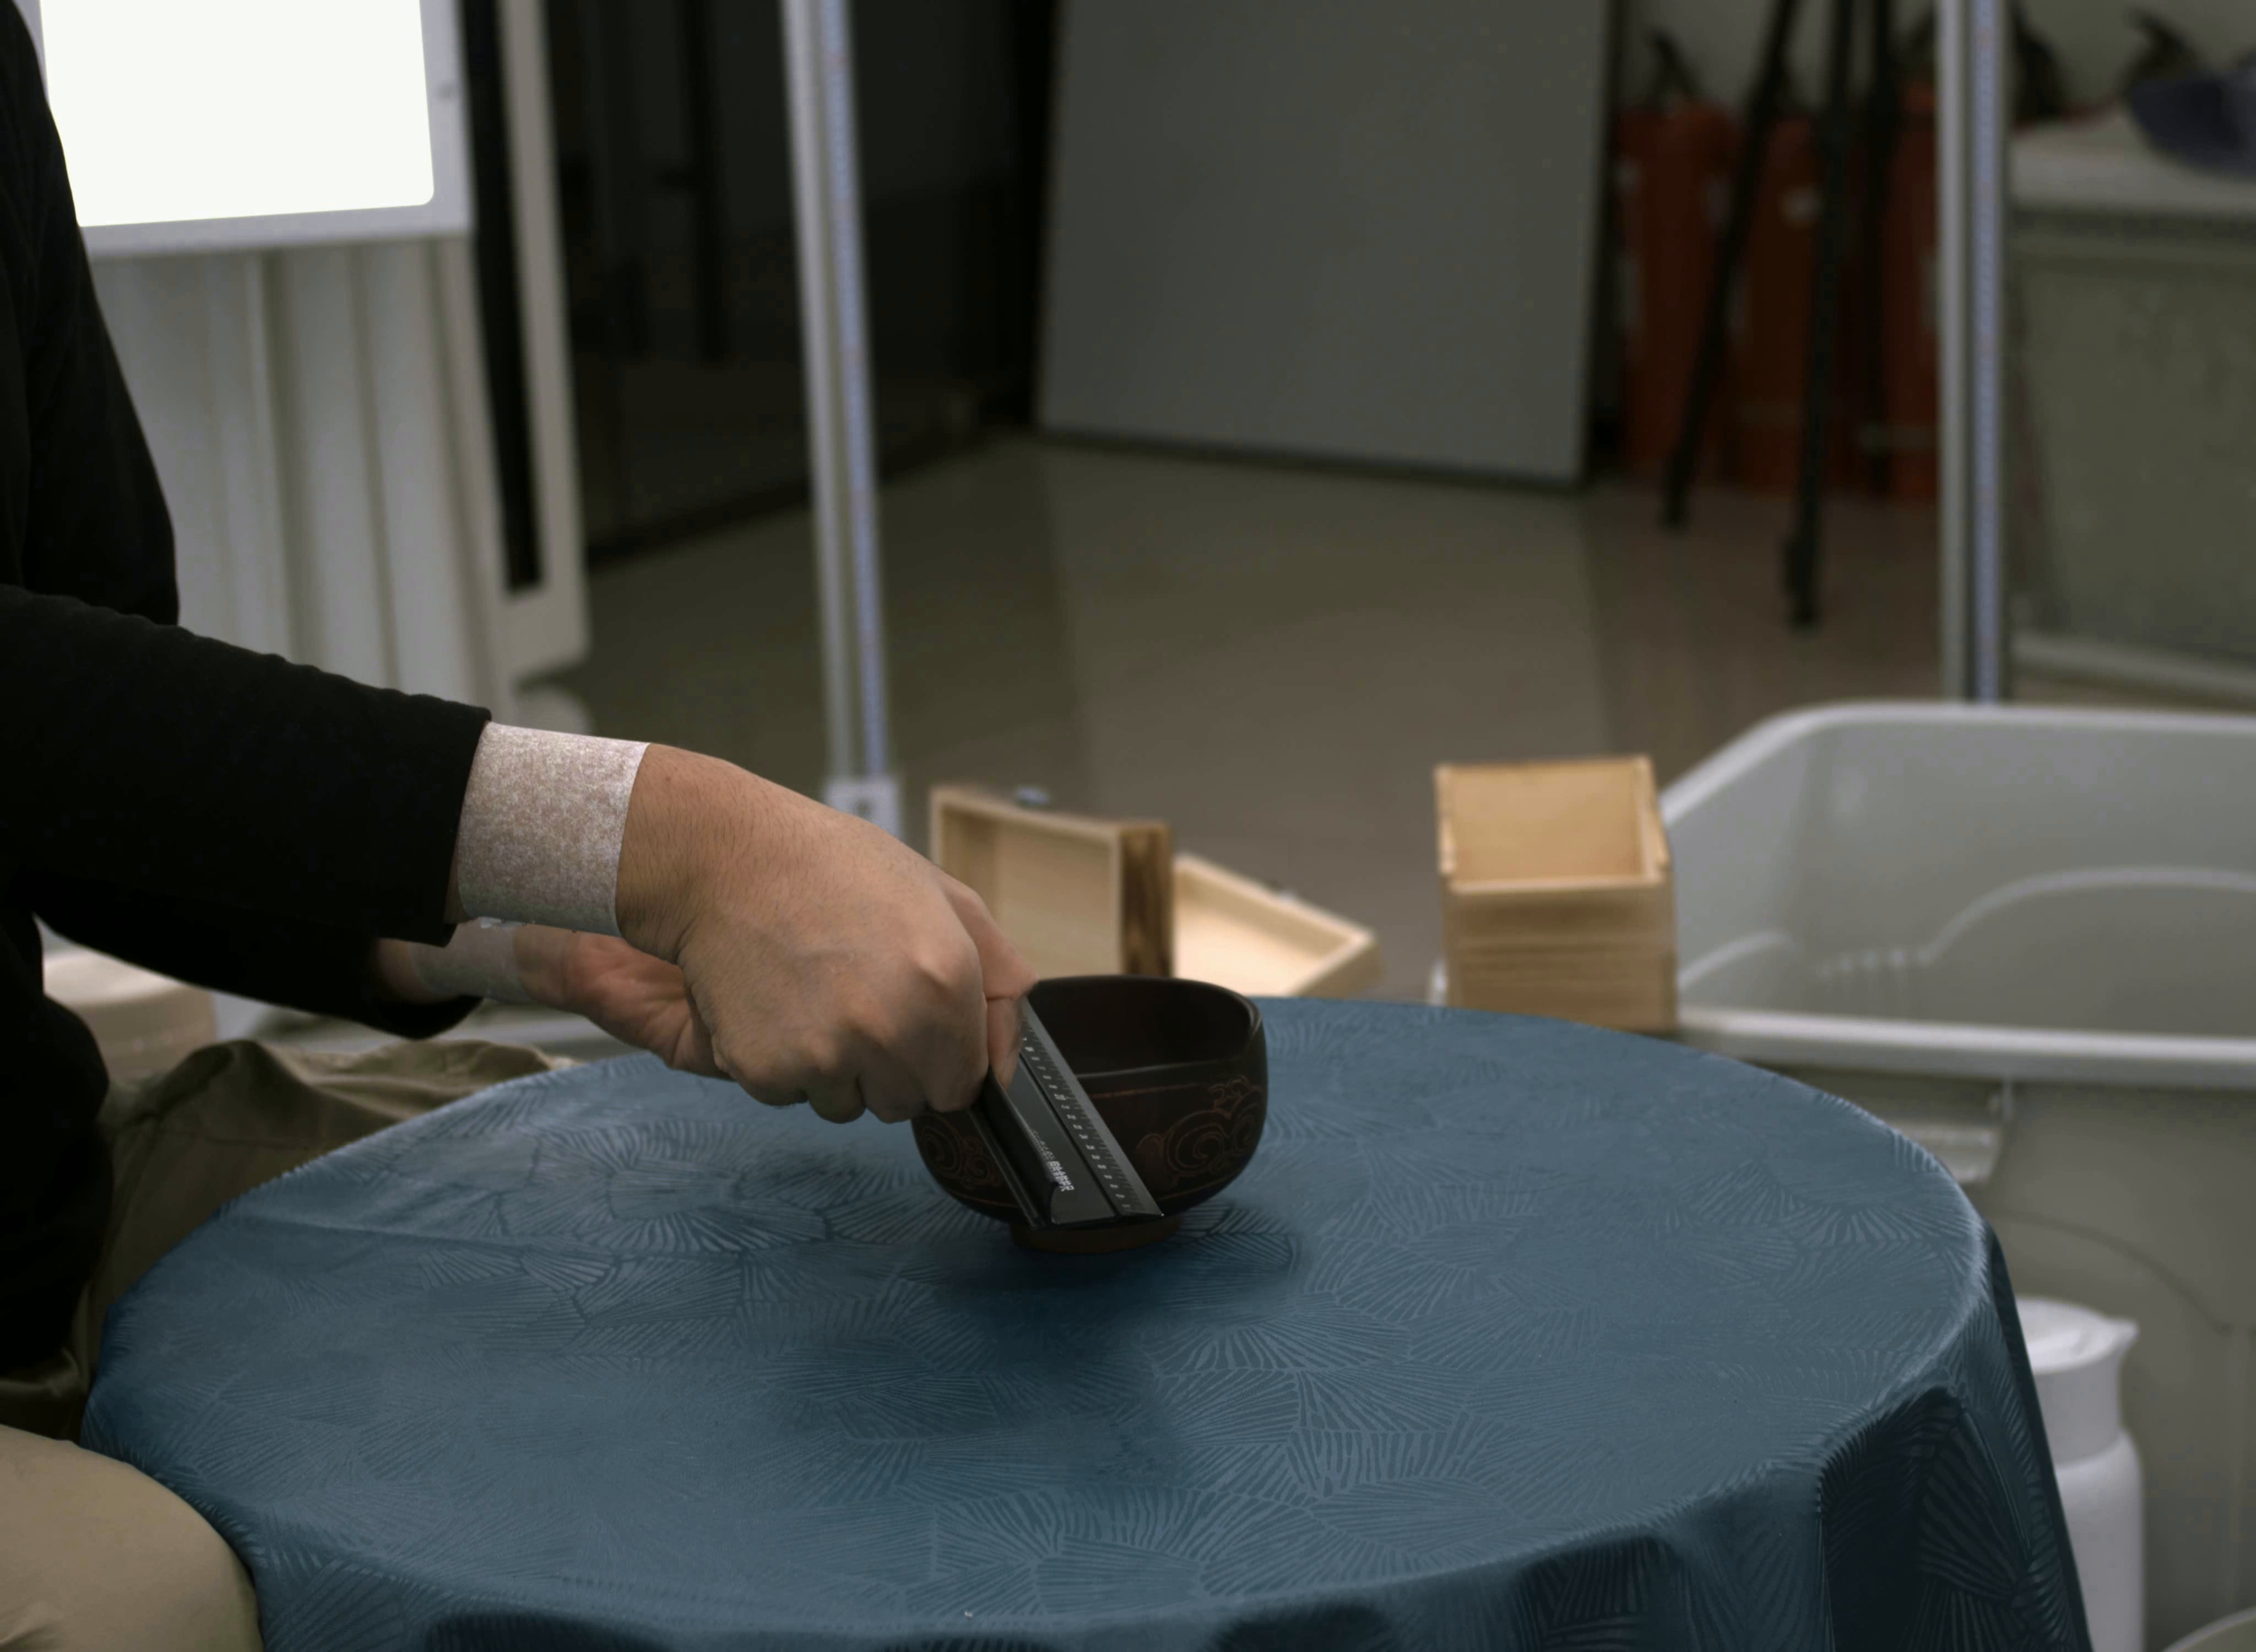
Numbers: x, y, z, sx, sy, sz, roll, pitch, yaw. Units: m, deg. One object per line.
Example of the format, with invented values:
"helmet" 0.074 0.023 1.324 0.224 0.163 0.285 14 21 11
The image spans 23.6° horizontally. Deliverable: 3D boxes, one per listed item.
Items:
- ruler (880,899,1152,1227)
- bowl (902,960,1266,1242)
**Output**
"ruler" -0.038 0.068 1.678 0.038 0.017 0.314 -4 15 -10
"bowl" -0.014 0.091 1.728 0.116 0.070 0.118 1 13 -1
